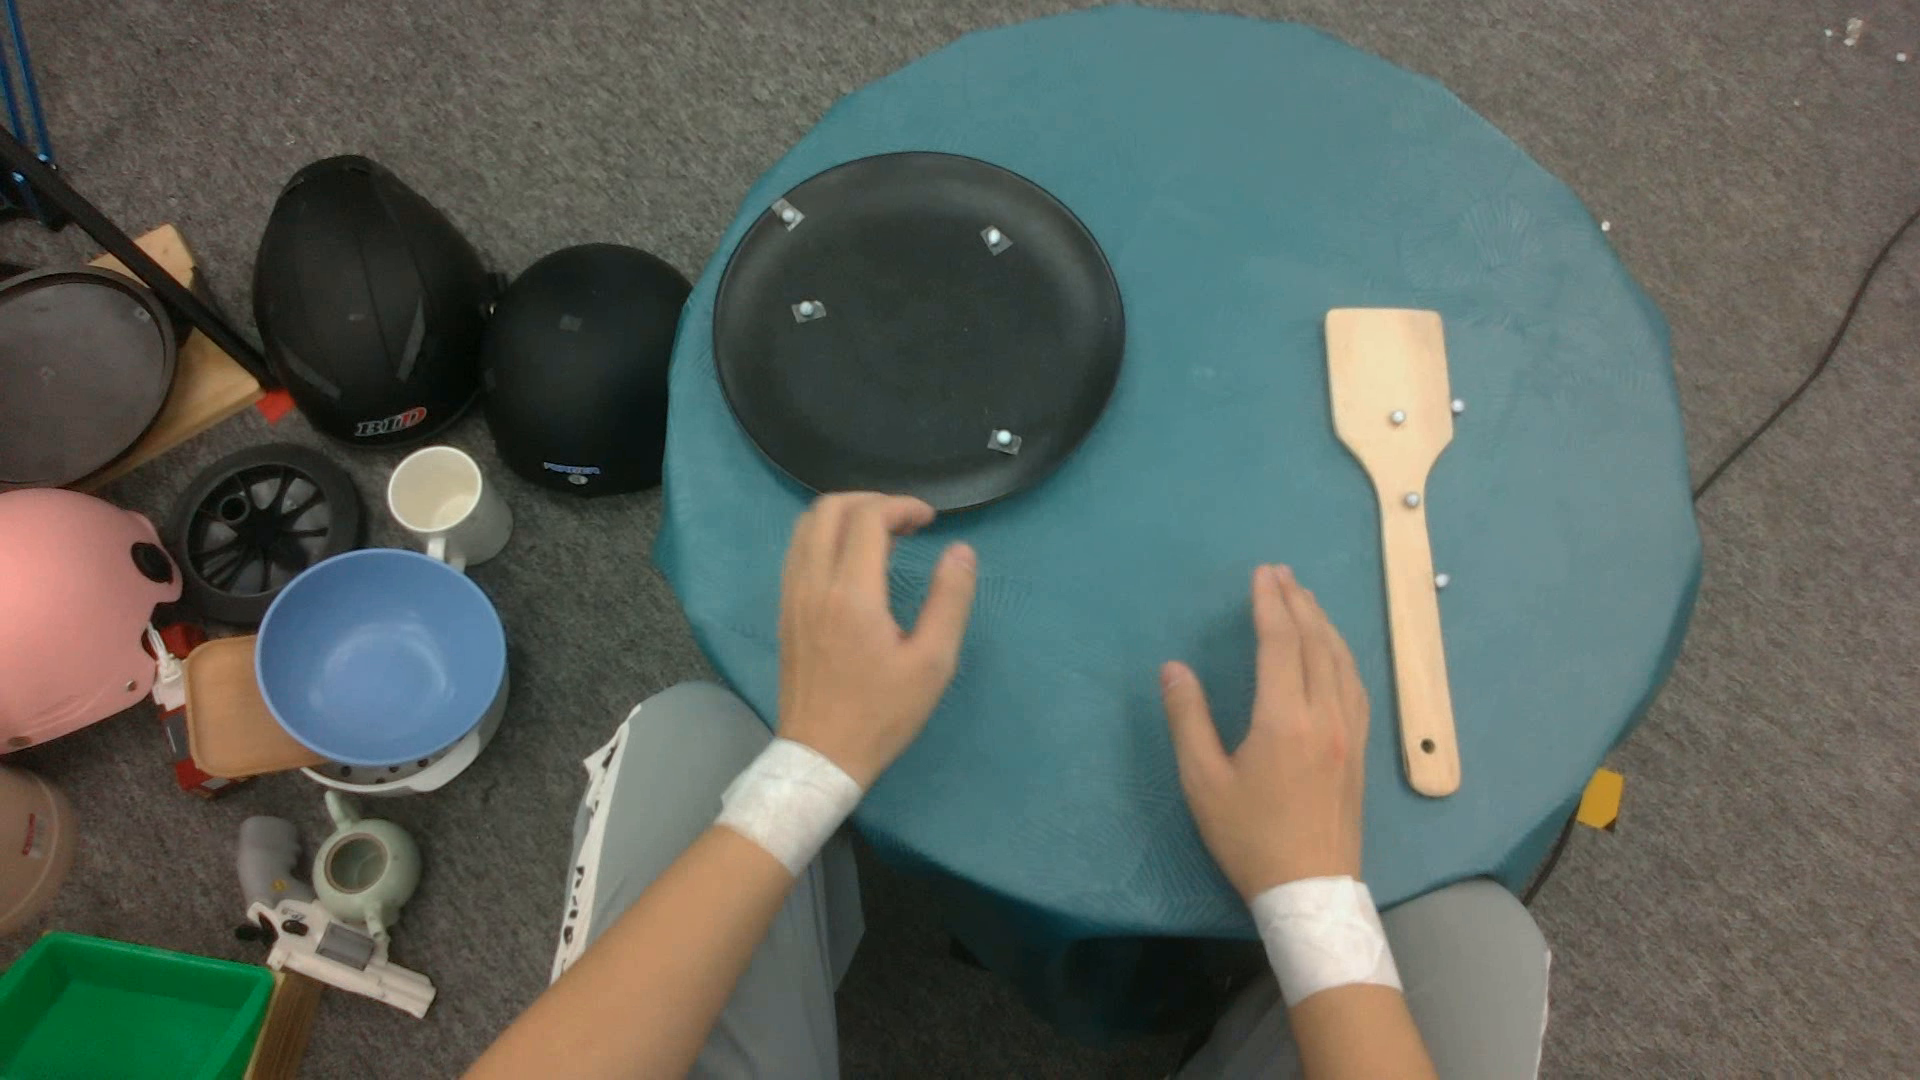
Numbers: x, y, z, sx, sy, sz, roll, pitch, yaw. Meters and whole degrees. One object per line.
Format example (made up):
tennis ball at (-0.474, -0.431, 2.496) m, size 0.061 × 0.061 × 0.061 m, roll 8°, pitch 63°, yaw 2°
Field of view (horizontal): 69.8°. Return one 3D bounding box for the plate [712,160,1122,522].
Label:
plate at (-0.025, -0.122, 0.827) m, size 0.244 × 0.023 × 0.245 m, roll 0°, pitch 69°, yaw 0°

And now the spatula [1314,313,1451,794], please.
spatula at (0.251, -0.001, 0.789) m, size 0.072 × 0.010 × 0.294 m, roll 1°, pitch 68°, yaw -2°
